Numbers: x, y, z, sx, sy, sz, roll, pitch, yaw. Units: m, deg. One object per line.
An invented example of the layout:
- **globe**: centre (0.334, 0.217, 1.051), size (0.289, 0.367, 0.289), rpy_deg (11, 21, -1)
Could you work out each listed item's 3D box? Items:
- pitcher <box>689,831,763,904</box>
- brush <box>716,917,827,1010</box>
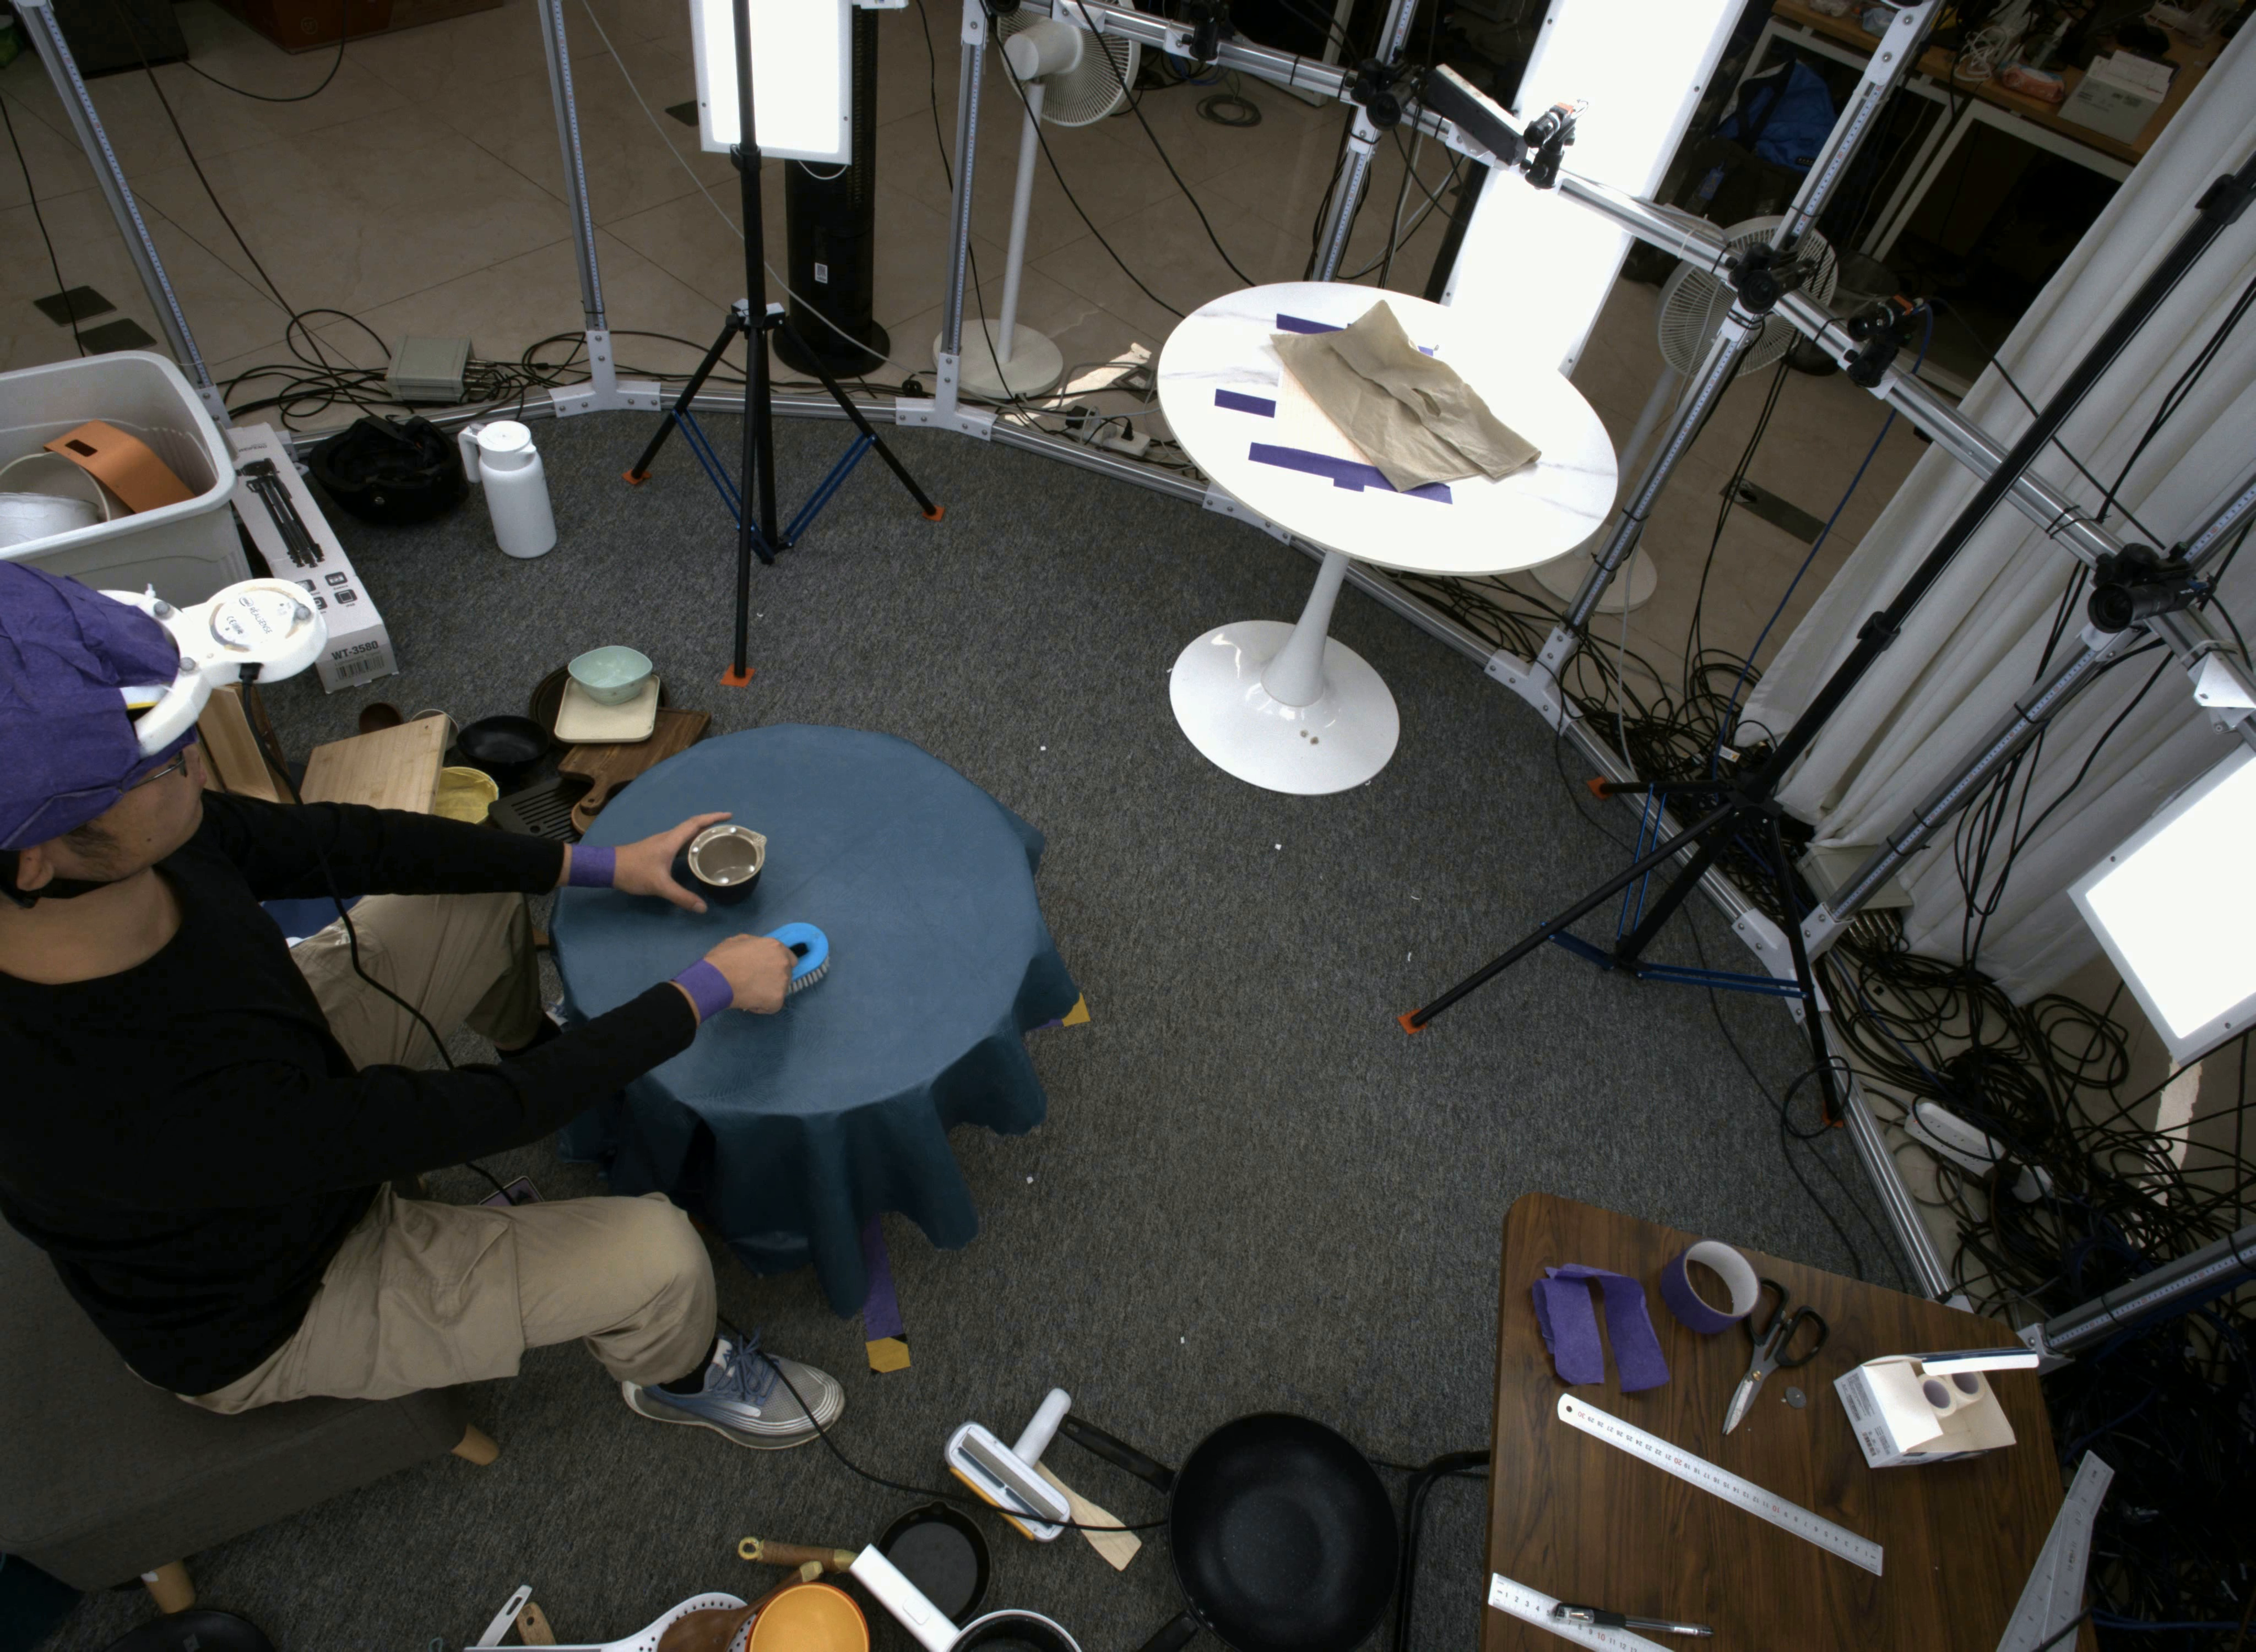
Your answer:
- **pitcher**: centre (-0.502, 0.052, 1.621), size (0.096, 0.073, 0.081), rpy_deg (-23, 60, -29)
- **brush**: centre (-0.429, 0.158, 1.566), size (0.142, 0.065, 0.082), rpy_deg (-28, 68, -29)
